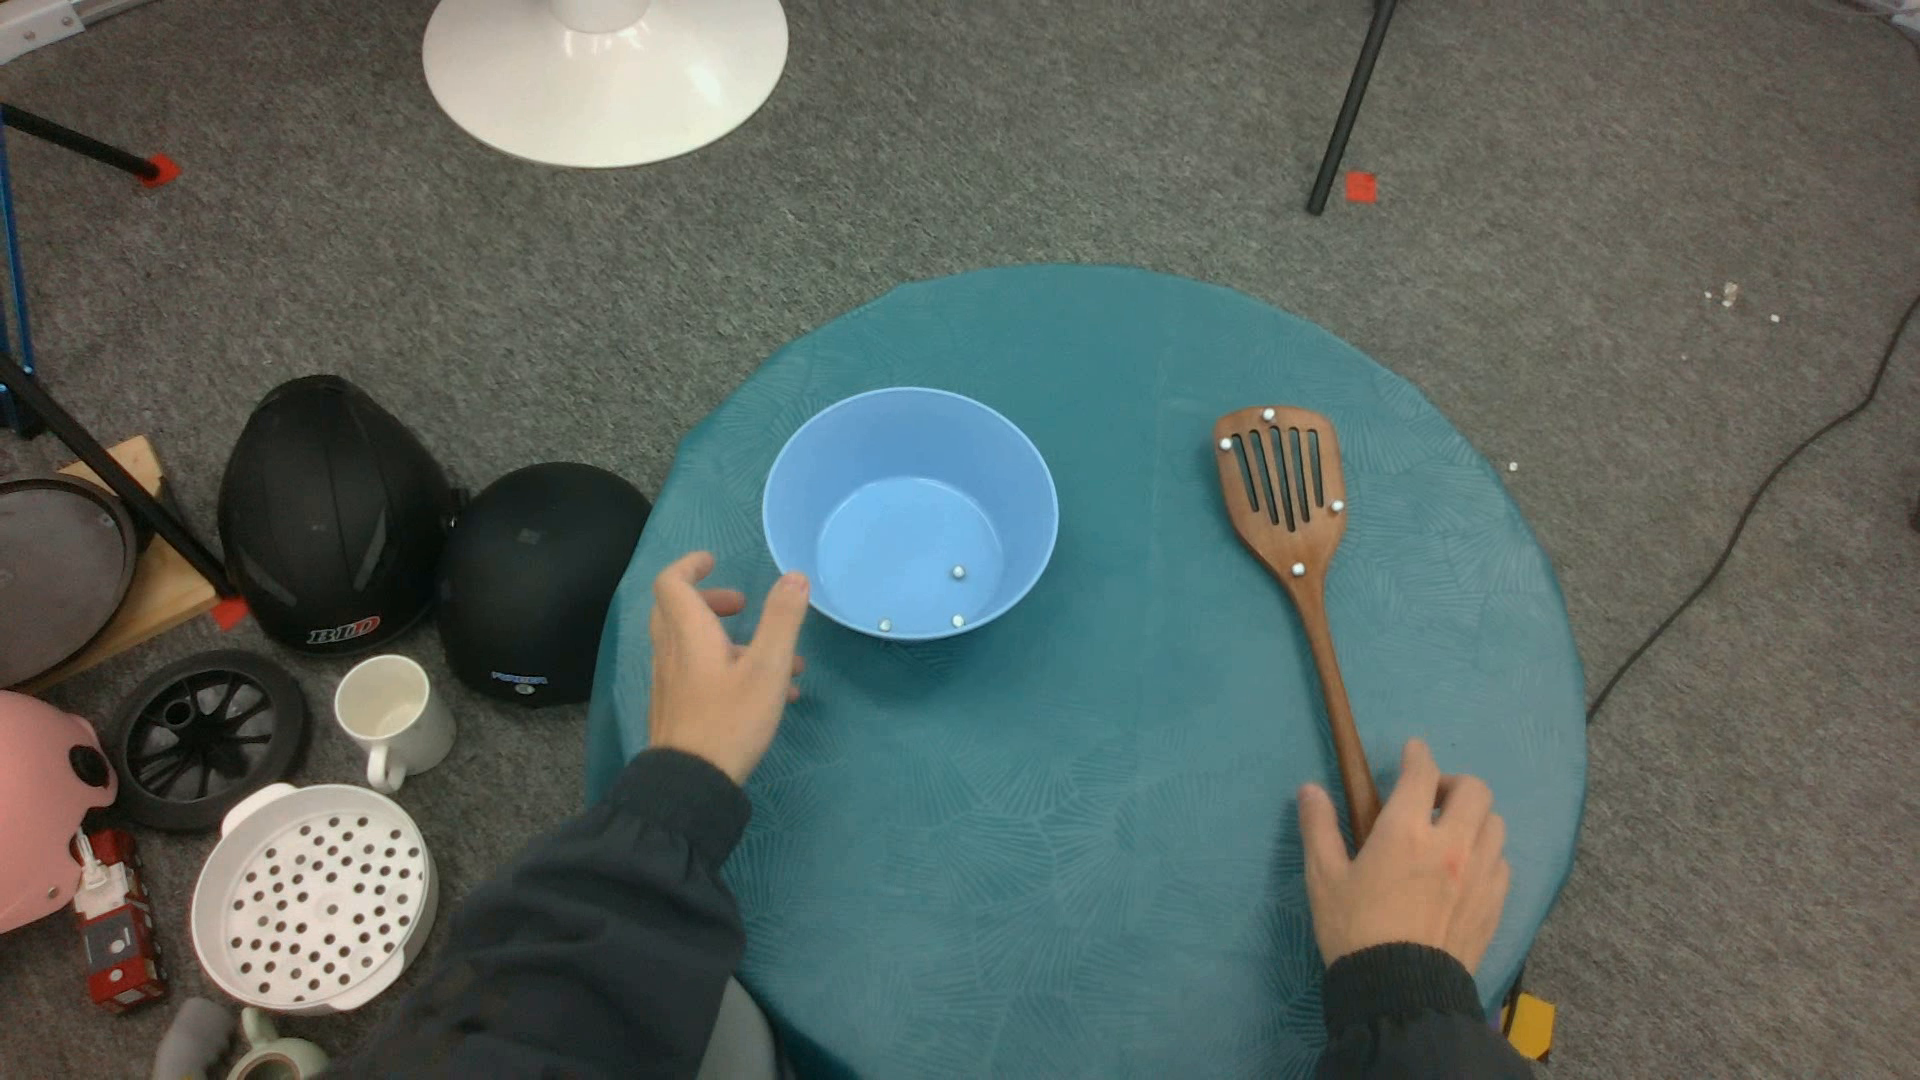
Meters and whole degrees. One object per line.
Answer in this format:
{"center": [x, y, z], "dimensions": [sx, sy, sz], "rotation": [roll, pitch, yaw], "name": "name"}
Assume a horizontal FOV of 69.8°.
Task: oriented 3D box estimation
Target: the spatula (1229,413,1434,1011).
{"center": [0.235, 0.088, 0.844], "dimensions": [0.085, 0.024, 0.388], "rotation": [-3, 60, -4], "name": "spatula"}

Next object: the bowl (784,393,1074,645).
{"center": [-0.019, -0.002, 0.857], "dimensions": [0.176, 0.070, 0.177], "rotation": [1, 60, -2], "name": "bowl"}
